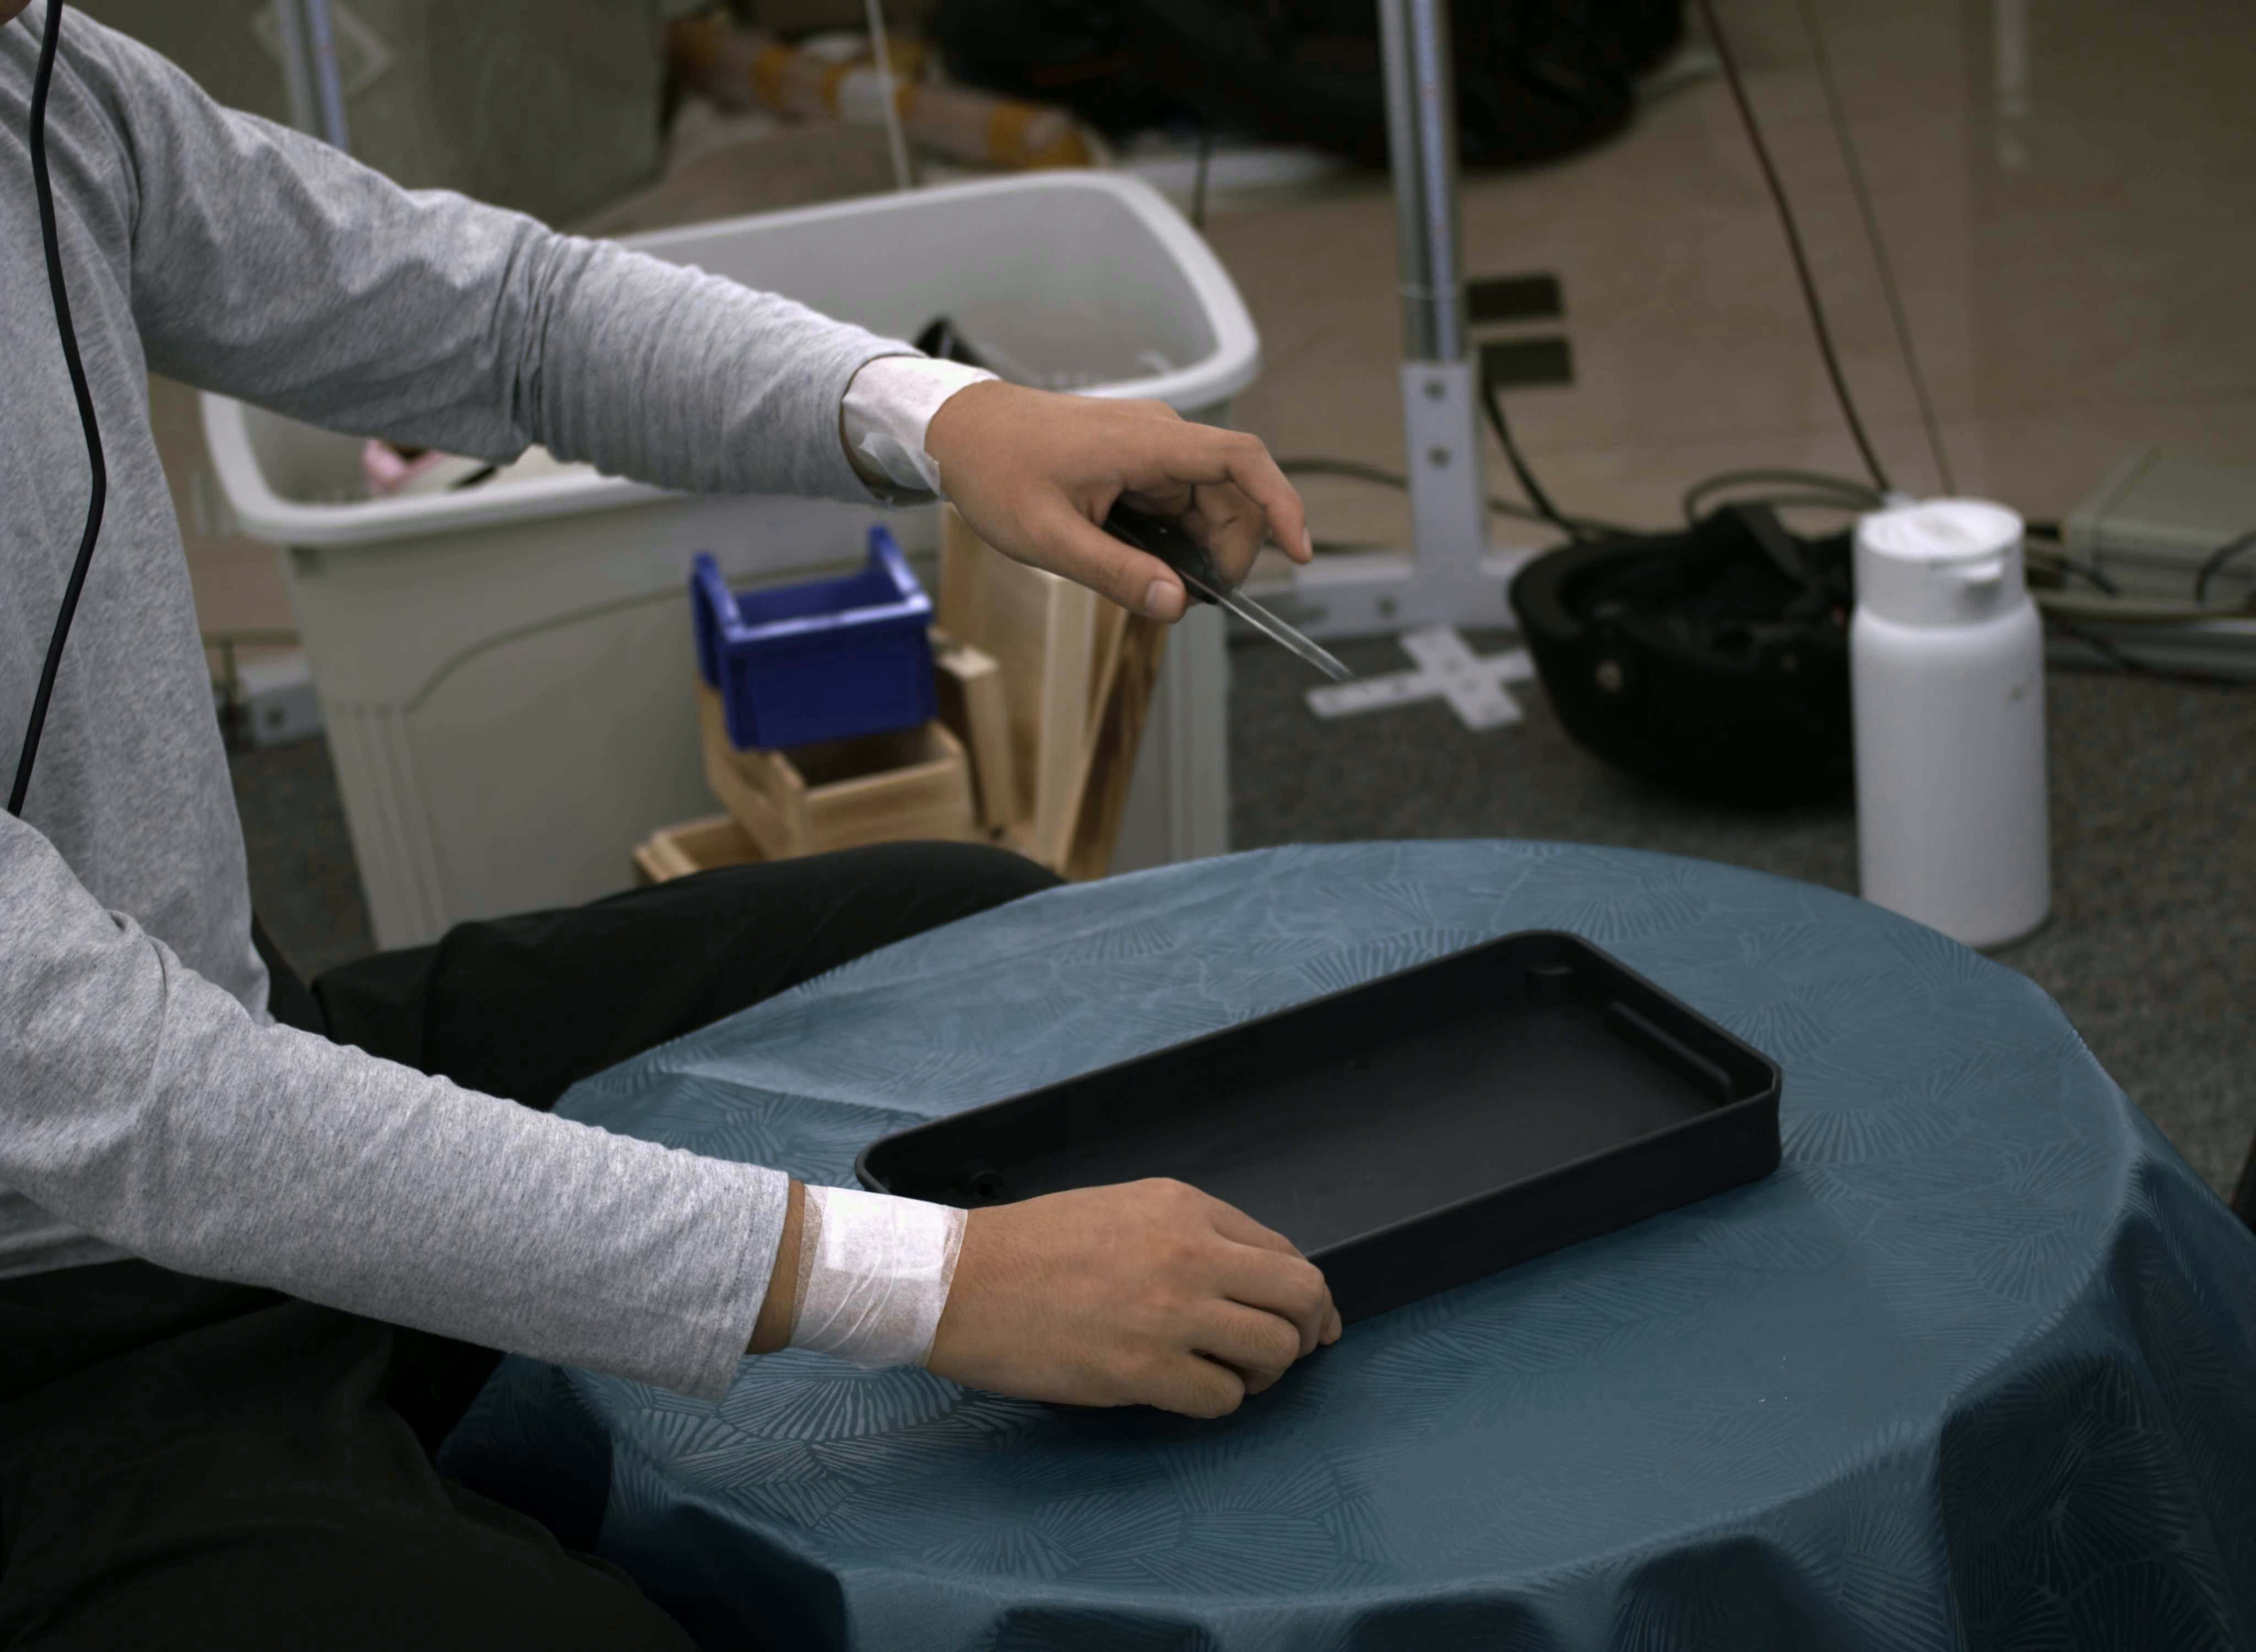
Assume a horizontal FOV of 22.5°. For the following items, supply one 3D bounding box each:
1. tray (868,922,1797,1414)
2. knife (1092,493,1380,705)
[{"bbox_3d":[0.077,0.123,2.125,0.316,0.037,0.182,-19,27,-23],"label":"tray"},{"bbox_3d":[0.038,-0.085,2.121,0.024,0.016,0.235,18,12,-31],"label":"knife"}]
